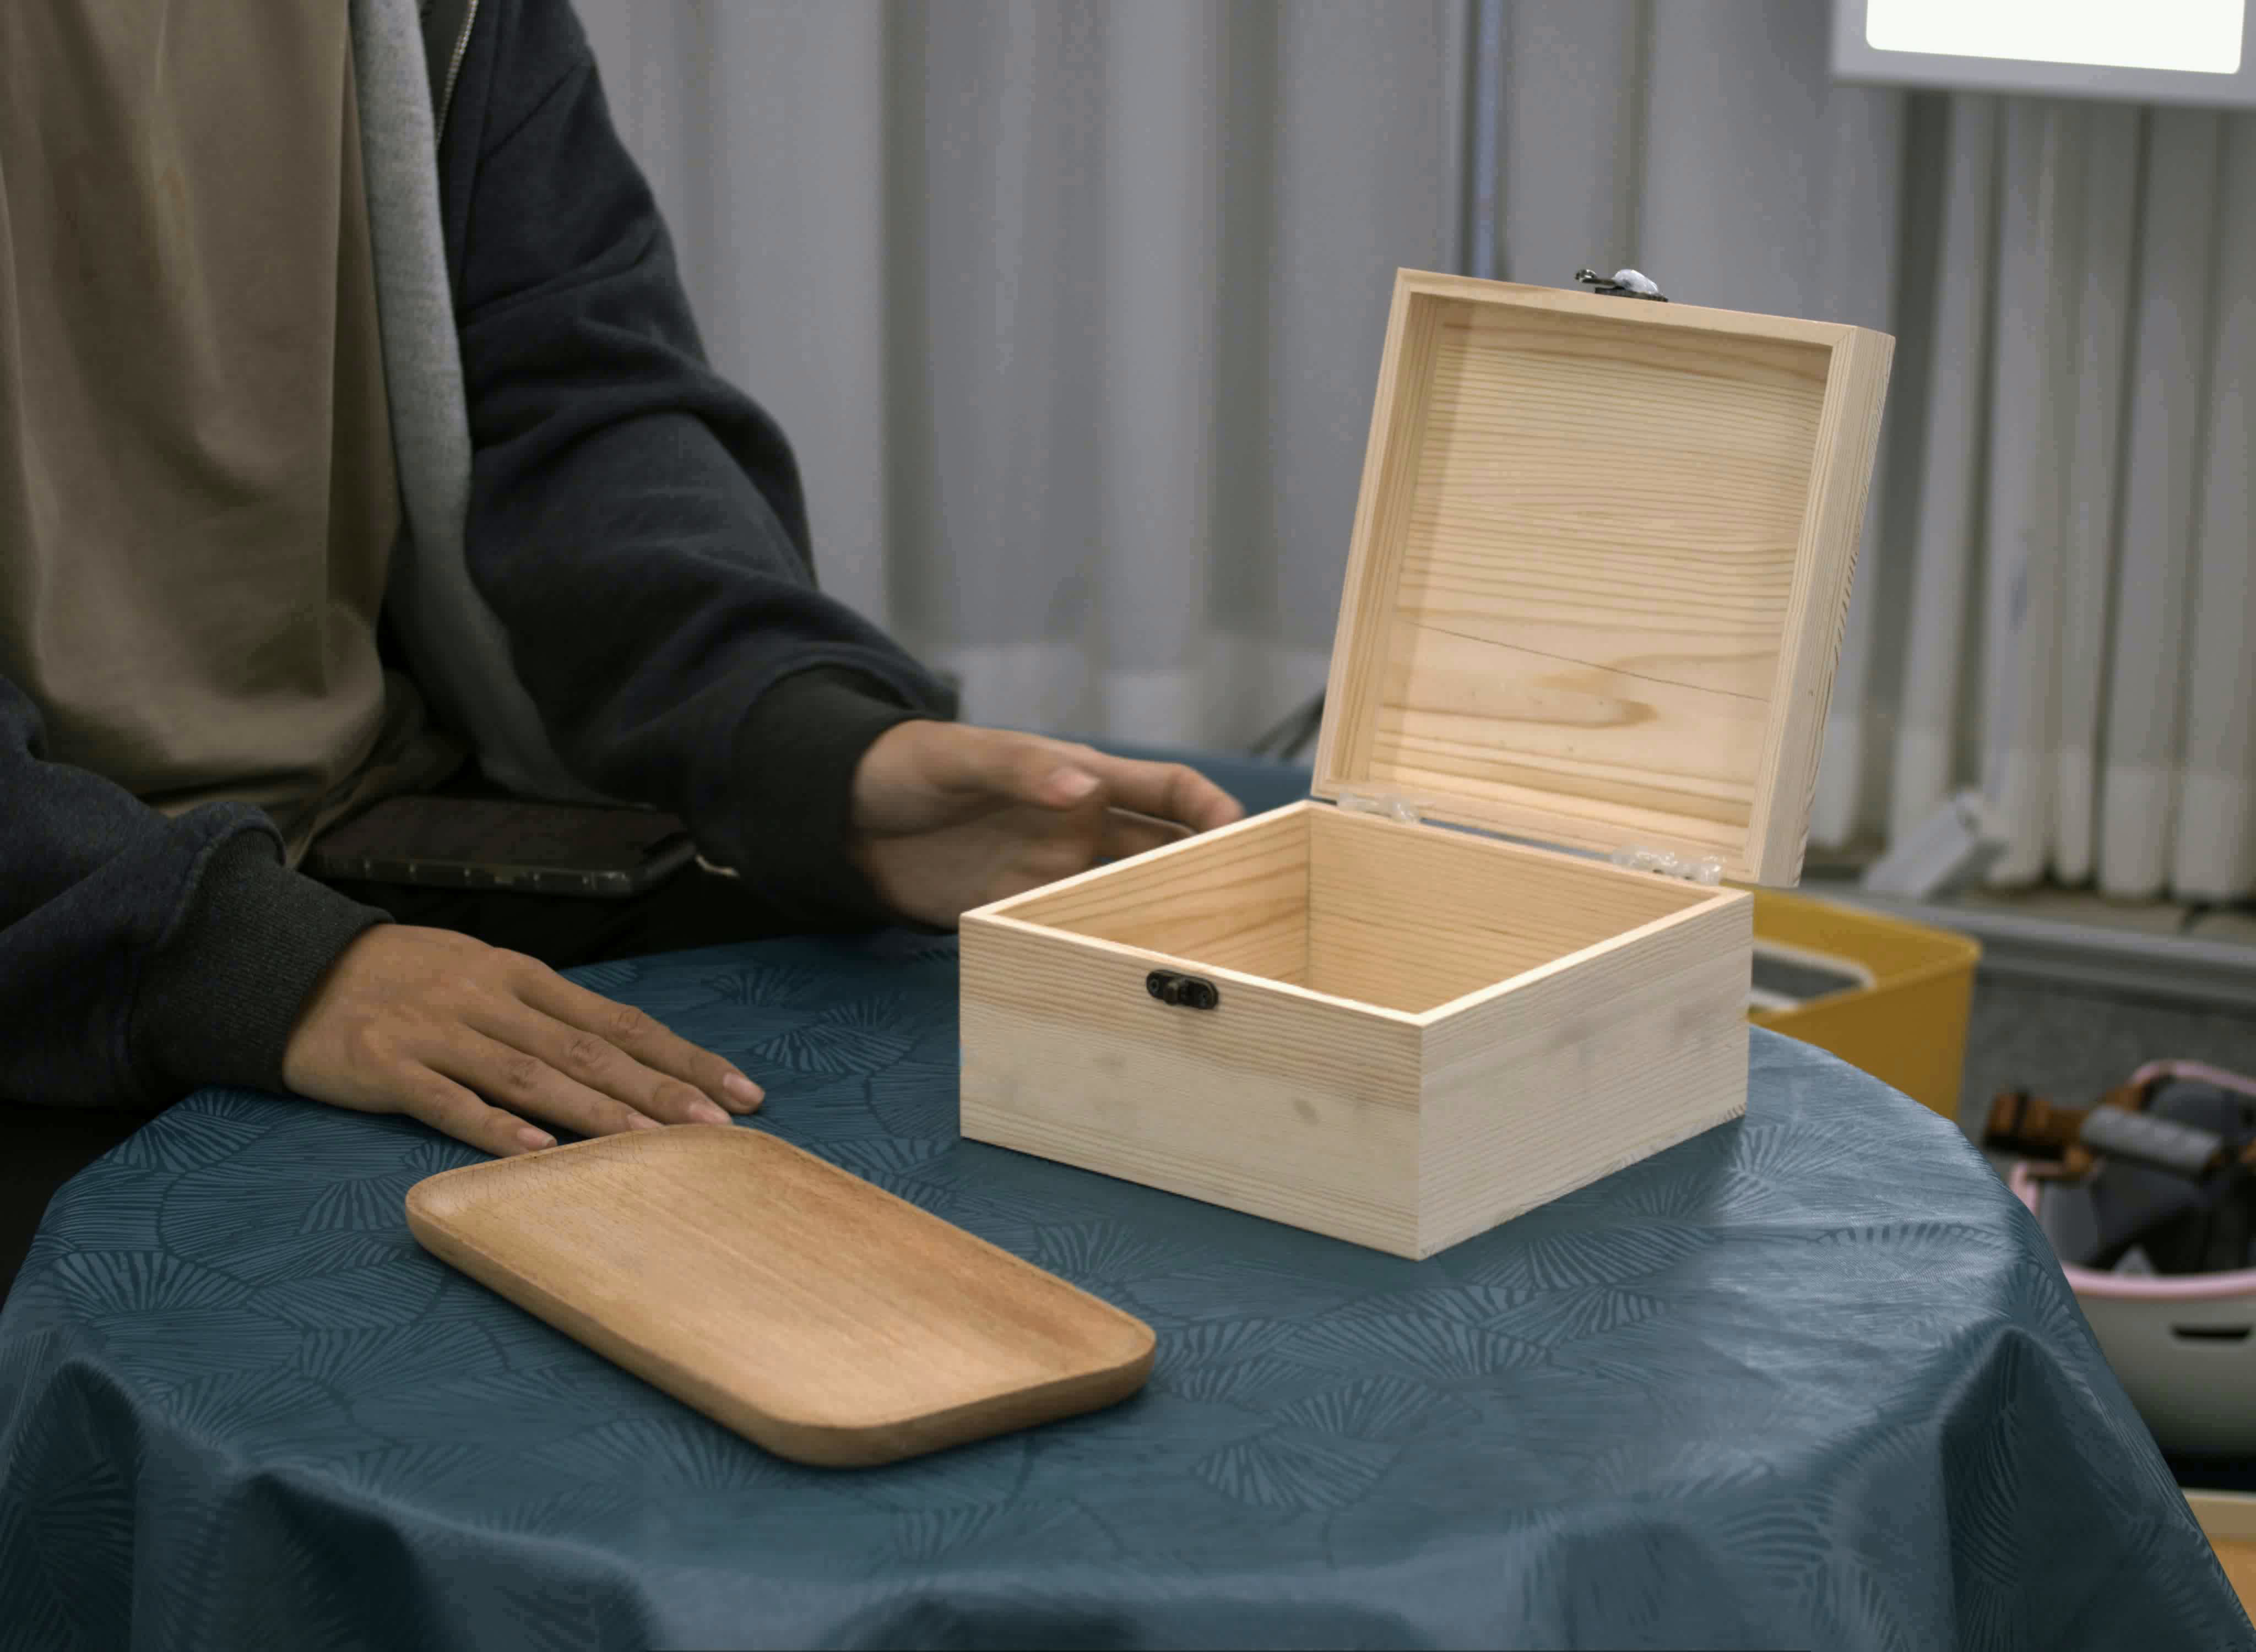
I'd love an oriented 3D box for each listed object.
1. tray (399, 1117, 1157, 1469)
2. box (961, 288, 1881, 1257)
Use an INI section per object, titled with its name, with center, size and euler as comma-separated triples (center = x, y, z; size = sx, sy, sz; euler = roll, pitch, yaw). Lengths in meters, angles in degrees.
[tray]
center = -0.105, 0.131, 1.517
size = 0.131, 0.023, 0.247
euler = -7, 17, -35
[box]
center = 0.094, -0.029, 1.678
size = 0.179, 0.255, 0.266
euler = 9, 17, 37
